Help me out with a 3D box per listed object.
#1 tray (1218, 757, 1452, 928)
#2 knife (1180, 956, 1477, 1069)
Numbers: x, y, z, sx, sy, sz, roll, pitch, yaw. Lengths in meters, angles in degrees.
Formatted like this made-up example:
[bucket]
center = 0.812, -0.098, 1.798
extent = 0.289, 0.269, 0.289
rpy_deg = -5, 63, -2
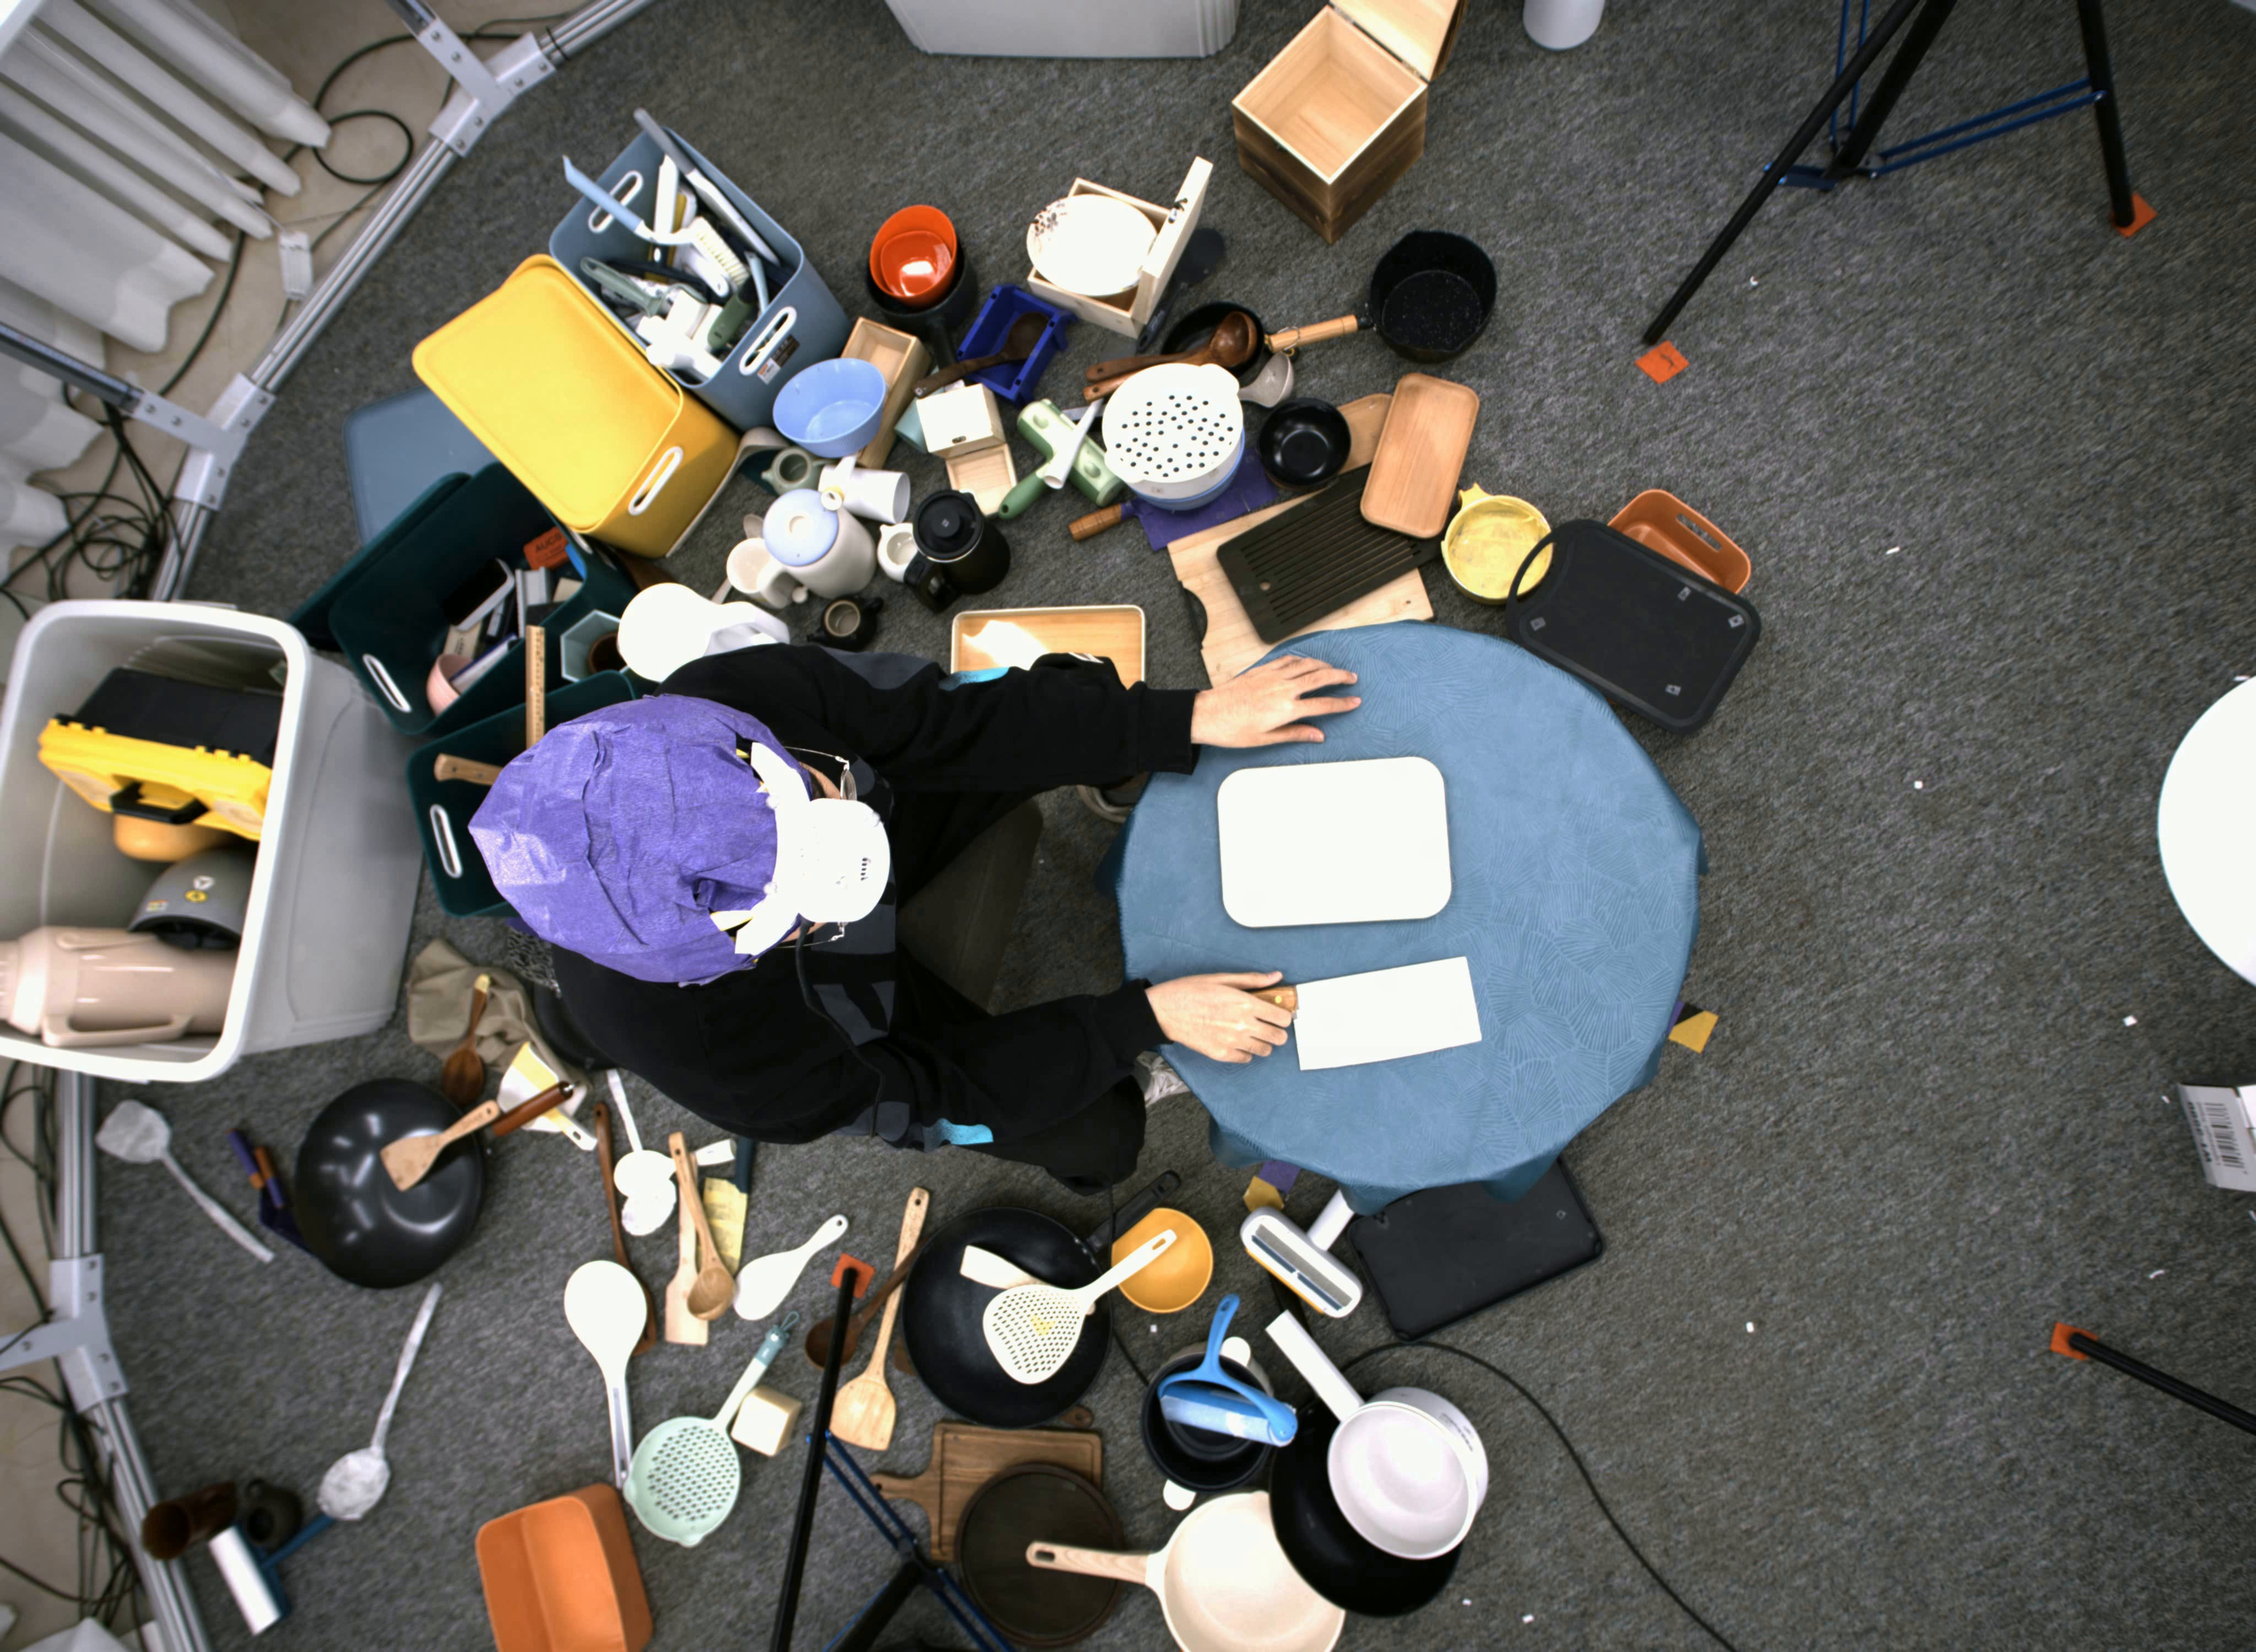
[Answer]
[tray]
center = 0.217, 0.017, 1.463
extent = 0.241, 0.017, 0.170
rpy_deg = -4, 87, 10
[knife]
center = 0.211, 0.203, 1.456
extent = 0.307, 0.021, 0.092
rpy_deg = -11, 87, 8
